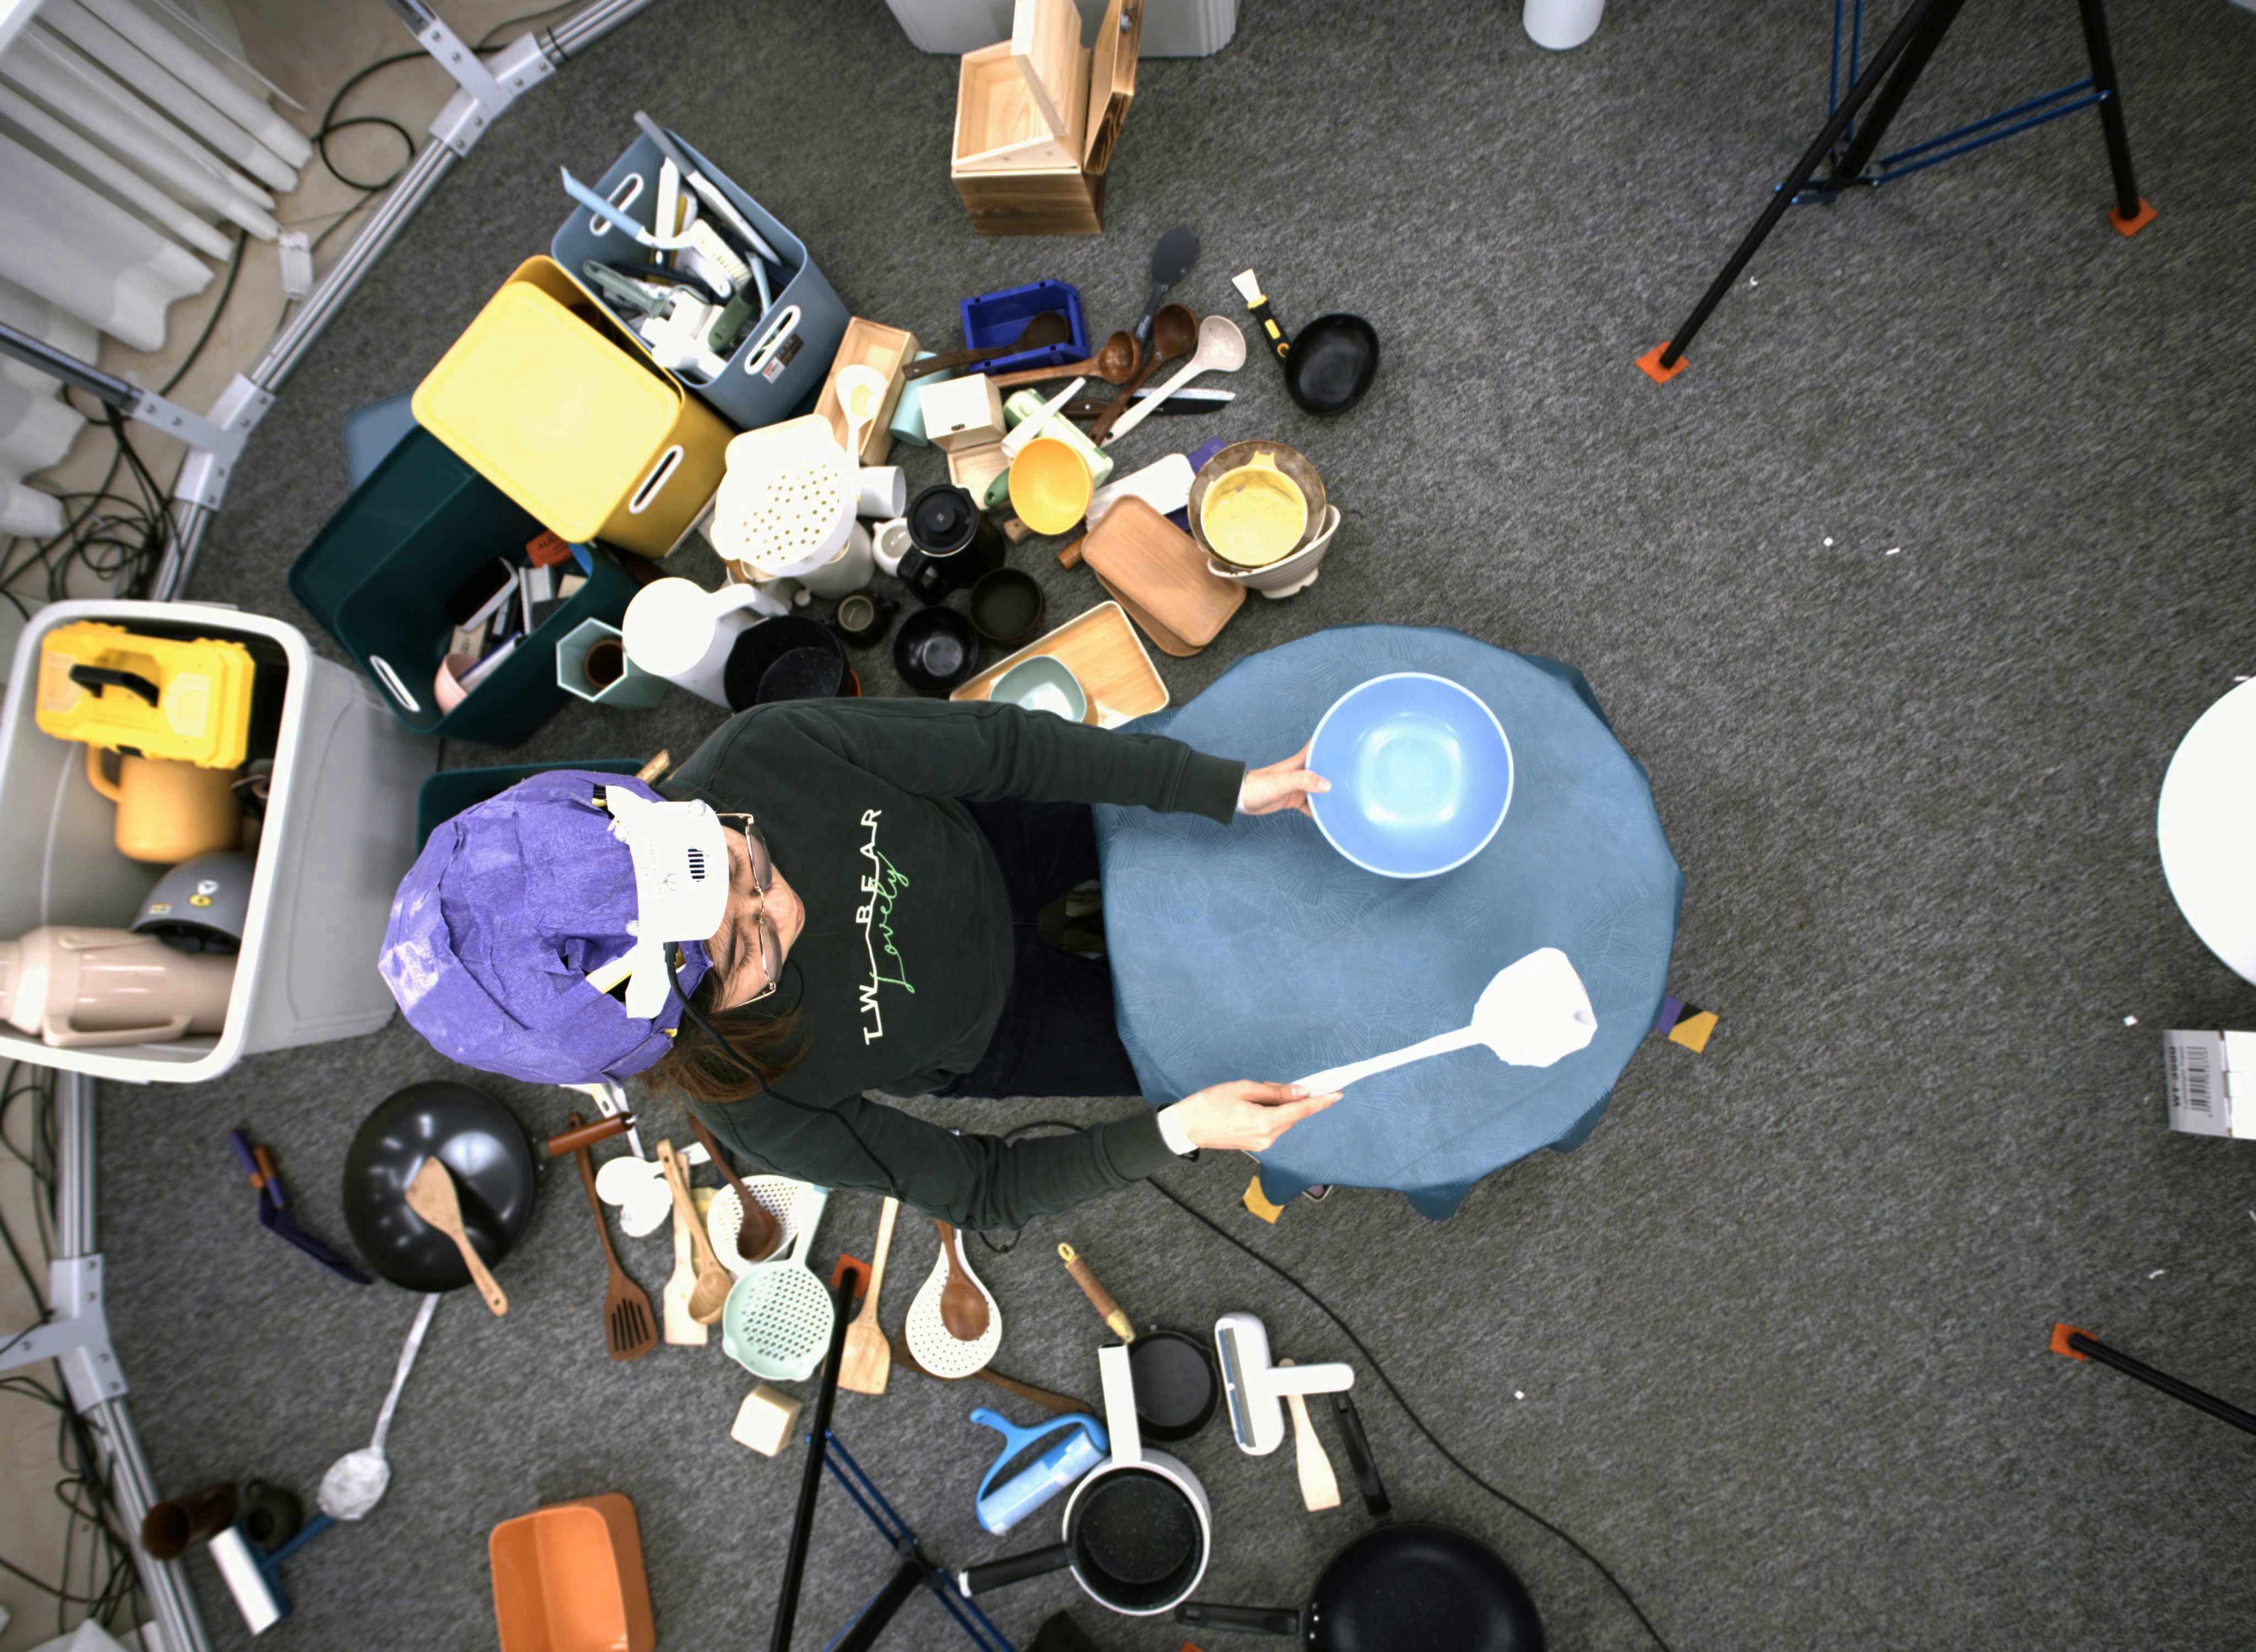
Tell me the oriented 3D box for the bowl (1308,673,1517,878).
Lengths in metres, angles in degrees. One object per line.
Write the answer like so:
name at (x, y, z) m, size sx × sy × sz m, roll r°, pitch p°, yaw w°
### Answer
bowl at (0.279, -0.051, 1.358) m, size 0.197 × 0.095 × 0.197 m, roll 1°, pitch 94°, yaw 11°

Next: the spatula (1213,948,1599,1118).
spatula at (0.250, 0.210, 1.281) m, size 0.367 × 0.045 × 0.097 m, roll -19°, pitch 68°, yaw 8°
